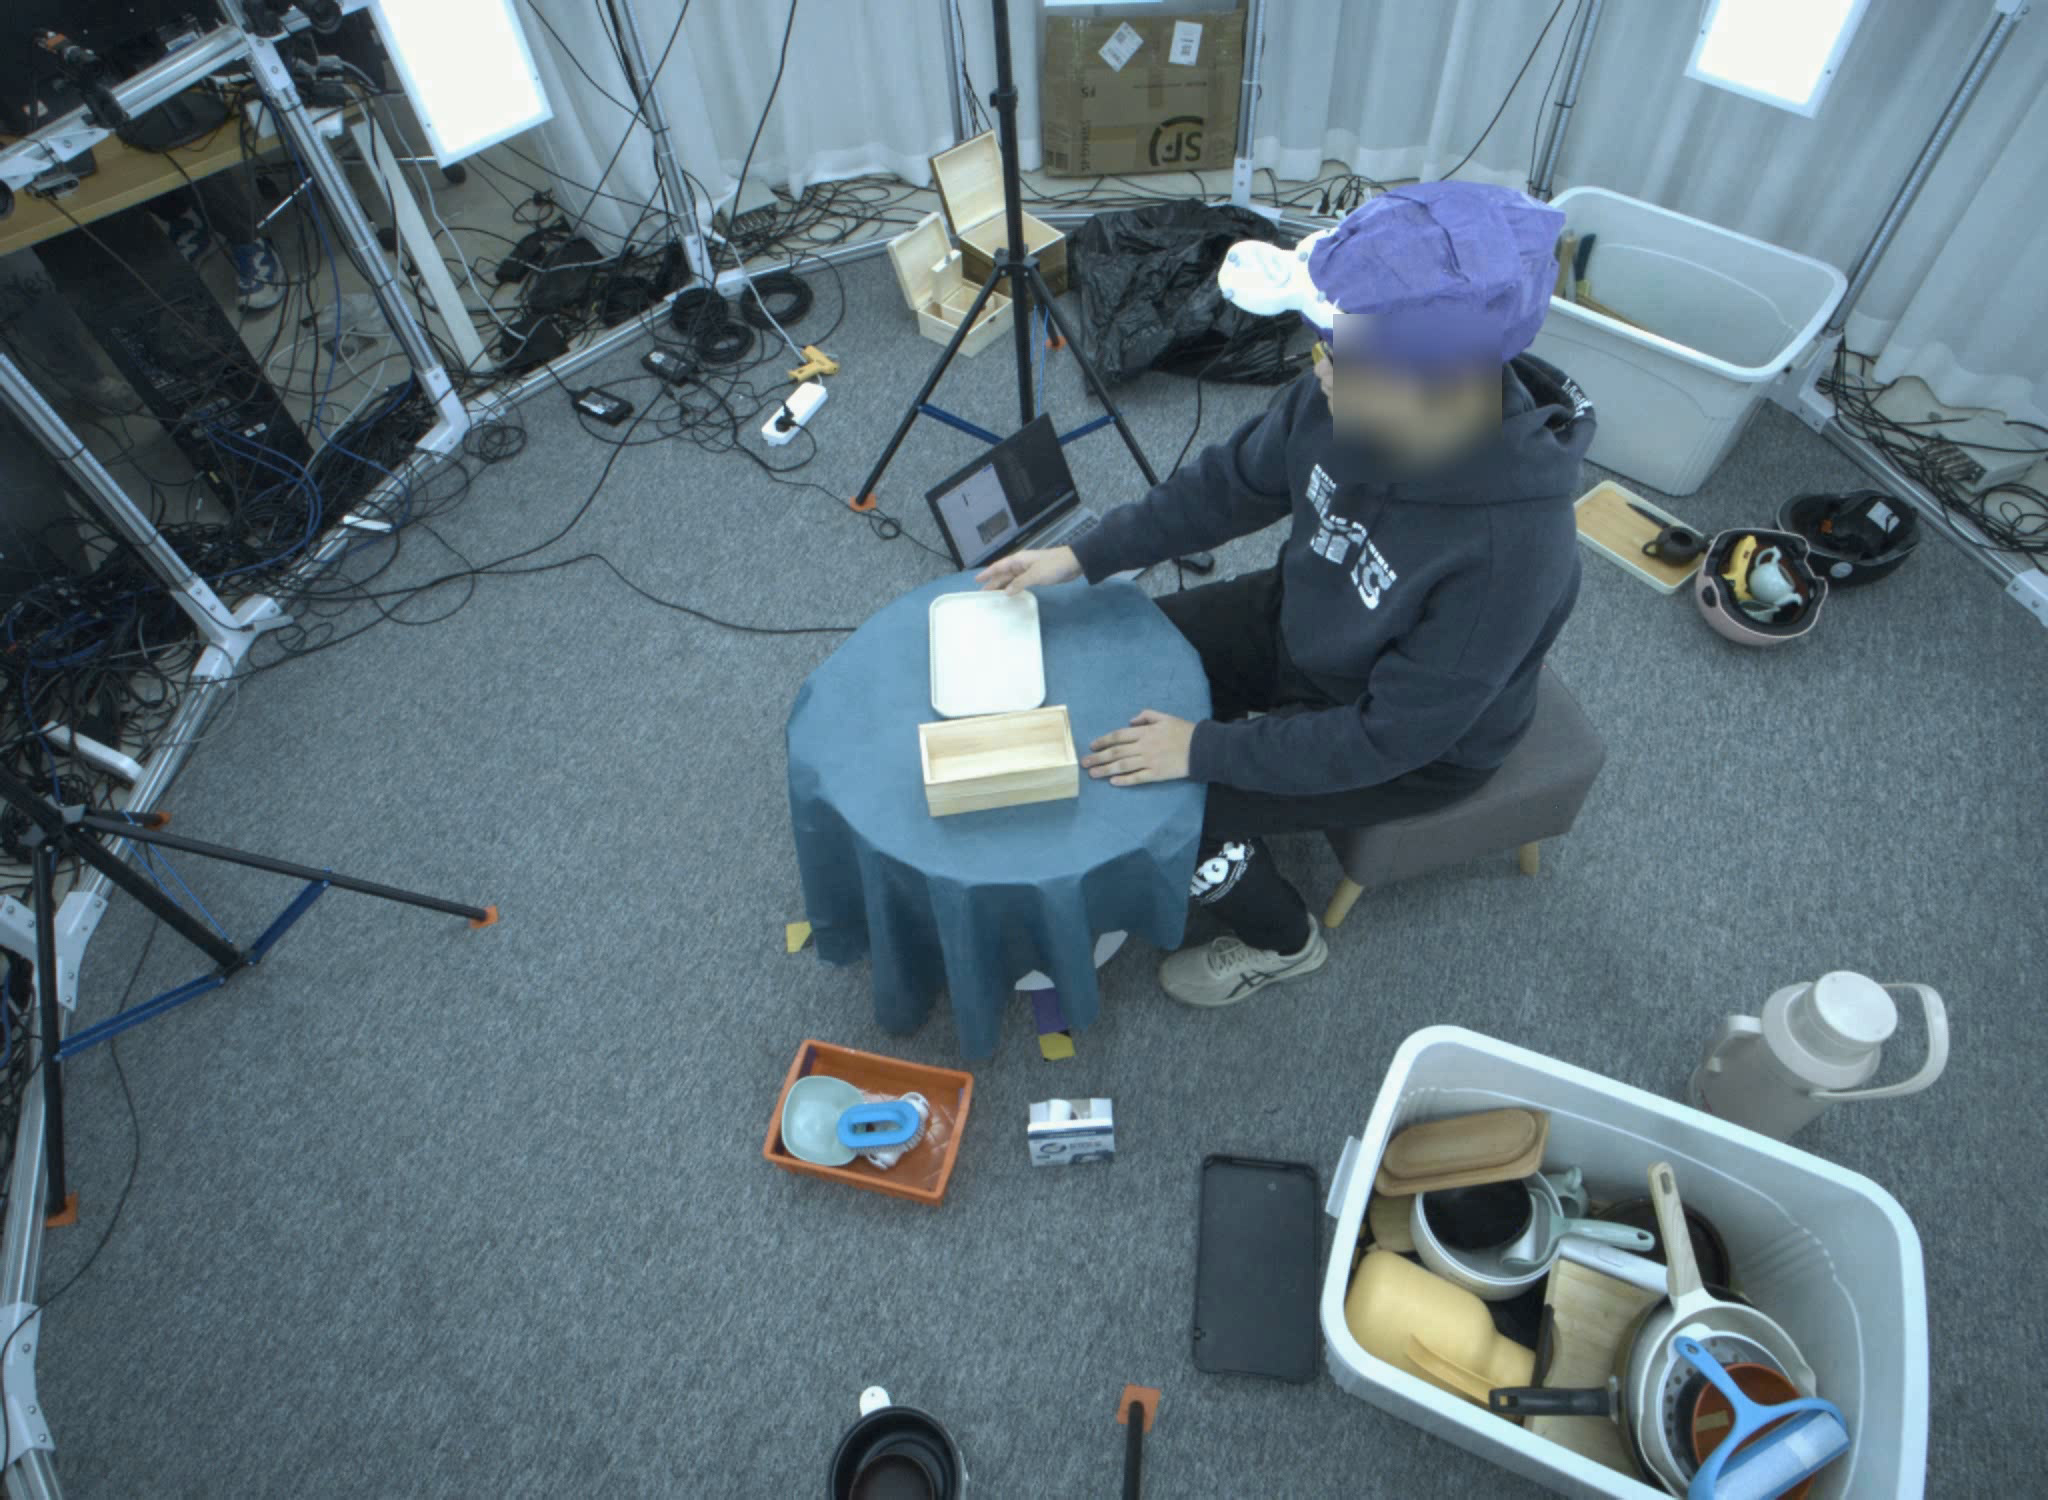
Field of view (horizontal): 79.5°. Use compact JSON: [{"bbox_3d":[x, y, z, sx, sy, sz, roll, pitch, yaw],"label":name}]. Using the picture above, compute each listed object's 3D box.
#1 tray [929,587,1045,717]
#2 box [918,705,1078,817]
[{"bbox_3d":[-0.059,-0.150,1.879,0.171,0.017,0.237,-4,57,-2],"label":"tray"},{"bbox_3d":[-0.036,0.015,1.729,0.212,0.081,0.106,-8,55,-4],"label":"box"}]
